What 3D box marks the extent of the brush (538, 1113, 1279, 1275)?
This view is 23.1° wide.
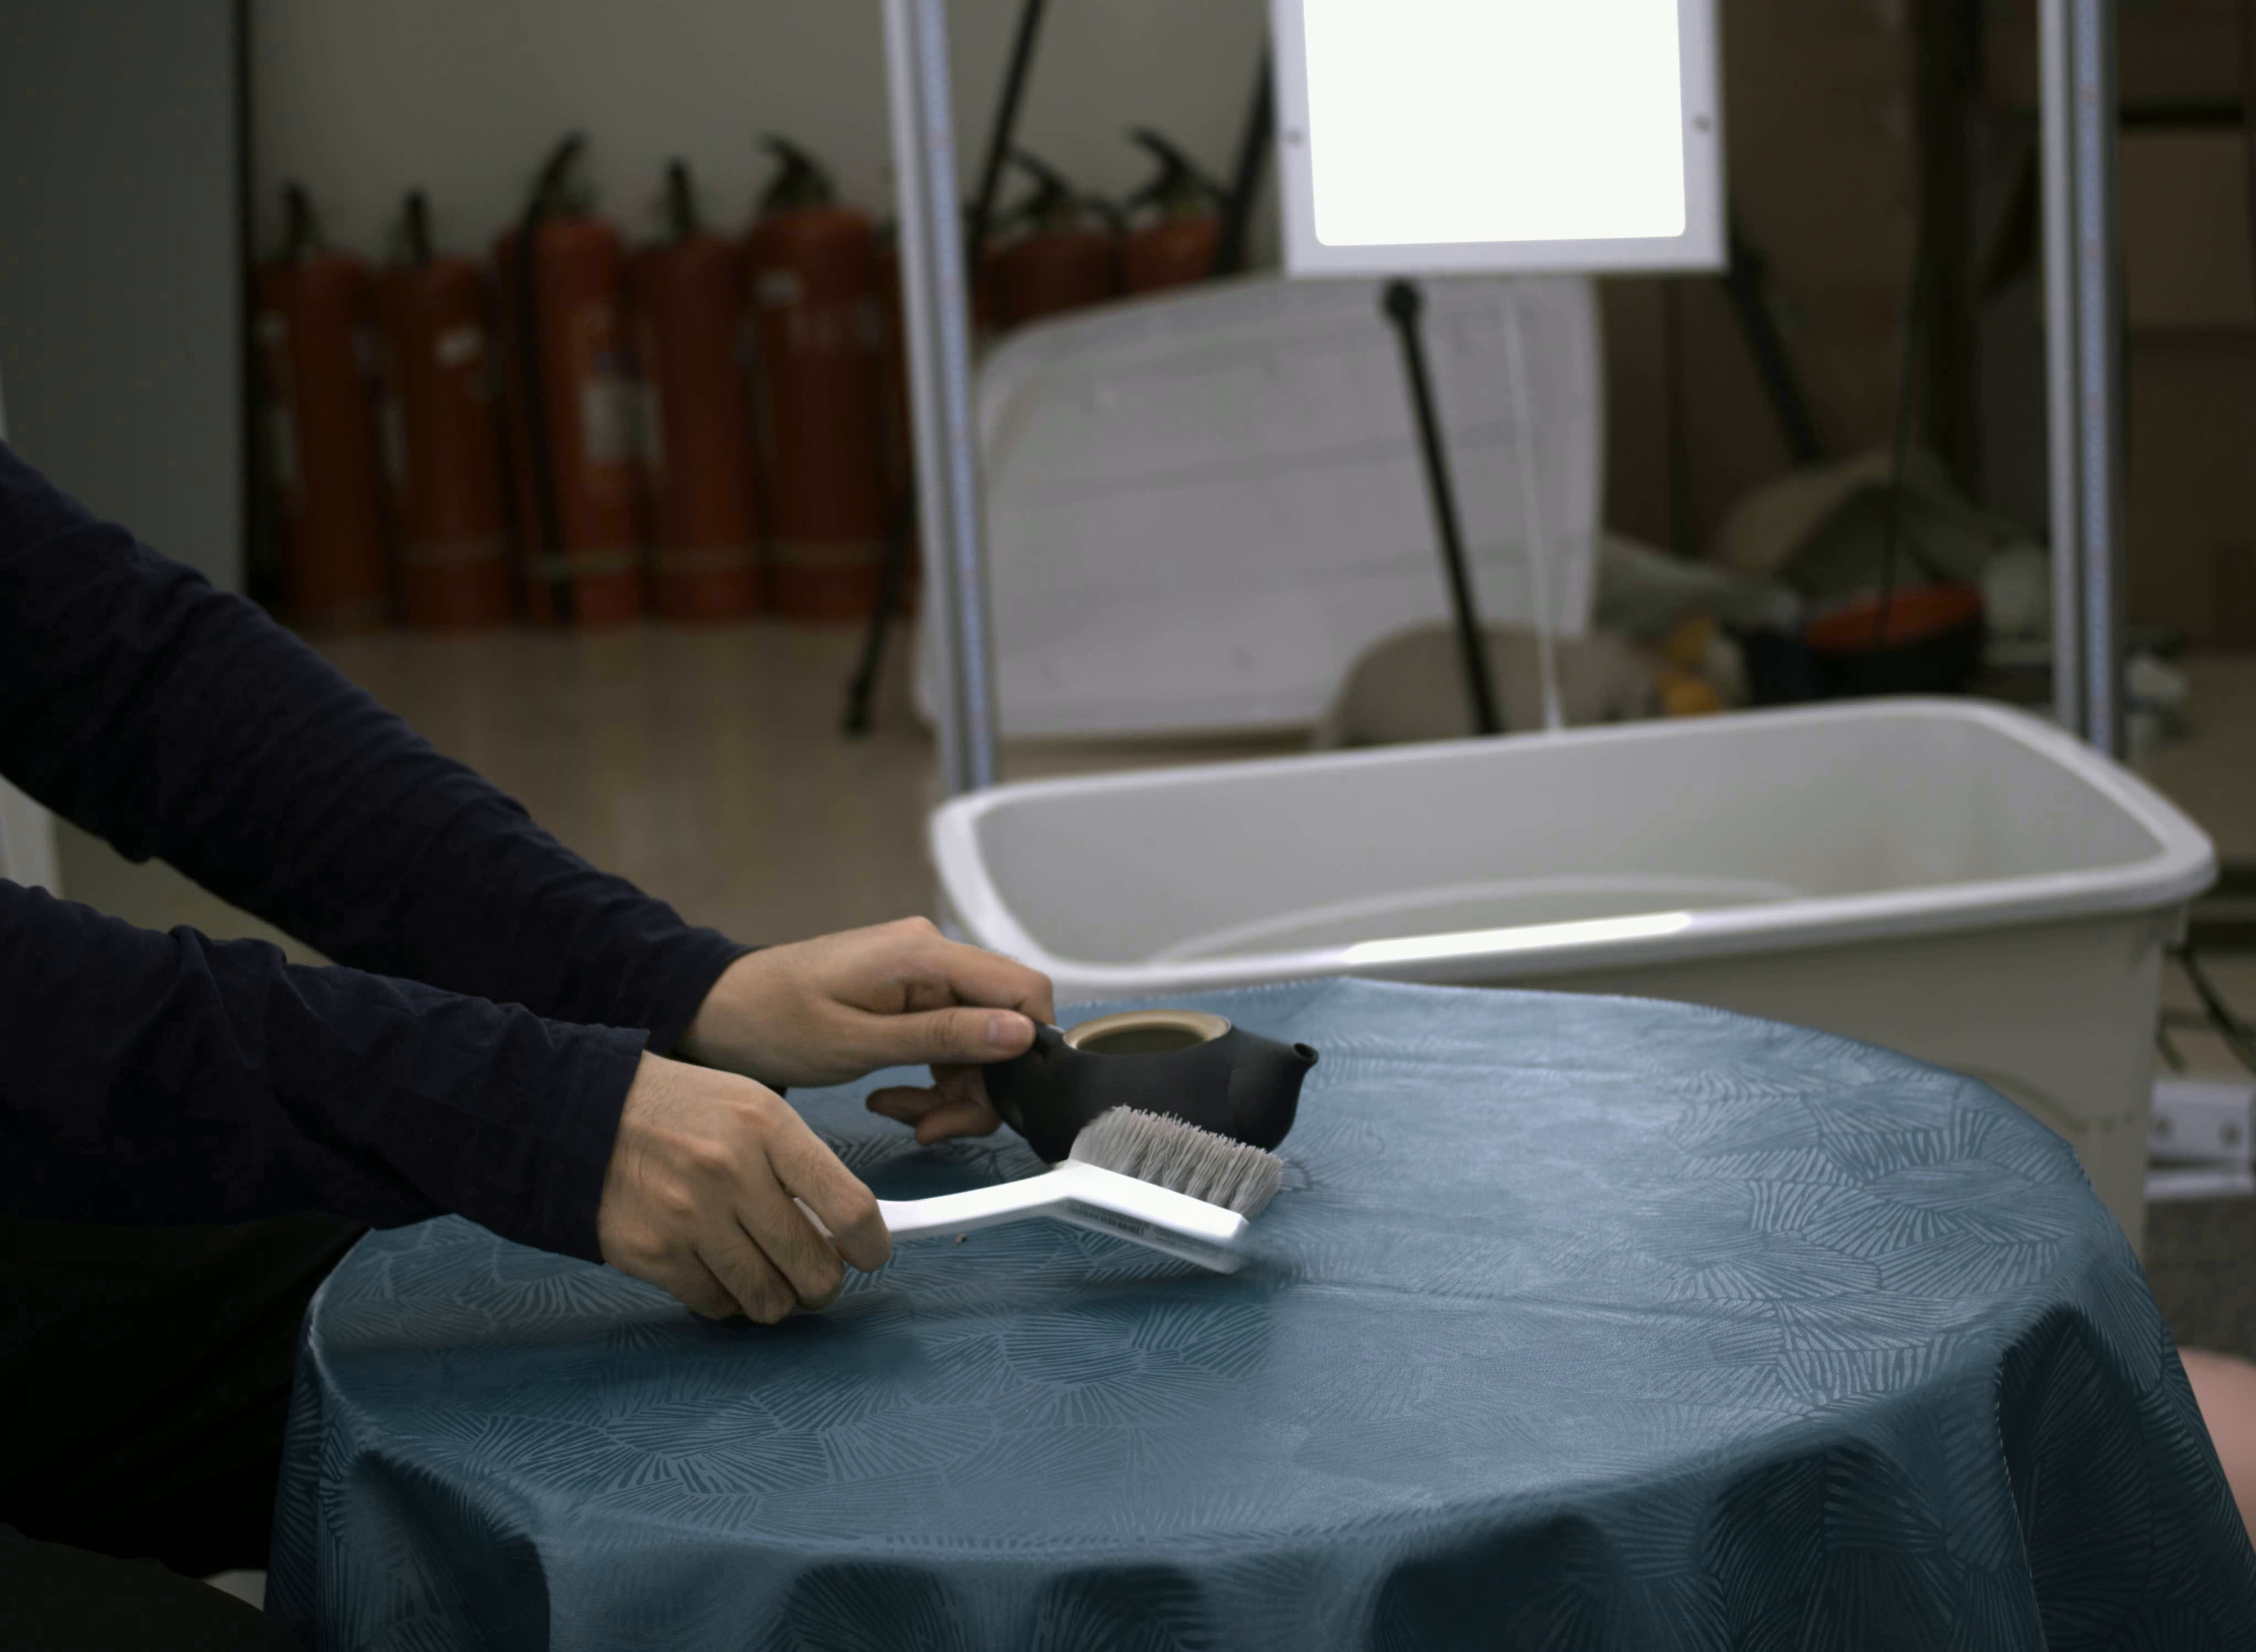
[{"bbox_3d":[-0.072,0.119,1.806,0.244,0.050,0.034,0,-15,7],"label":"brush"}]

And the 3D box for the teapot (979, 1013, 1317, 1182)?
[{"bbox_3d":[0.007,0.096,1.909,0.135,0.053,0.089,3,13,30],"label":"teapot"}]
